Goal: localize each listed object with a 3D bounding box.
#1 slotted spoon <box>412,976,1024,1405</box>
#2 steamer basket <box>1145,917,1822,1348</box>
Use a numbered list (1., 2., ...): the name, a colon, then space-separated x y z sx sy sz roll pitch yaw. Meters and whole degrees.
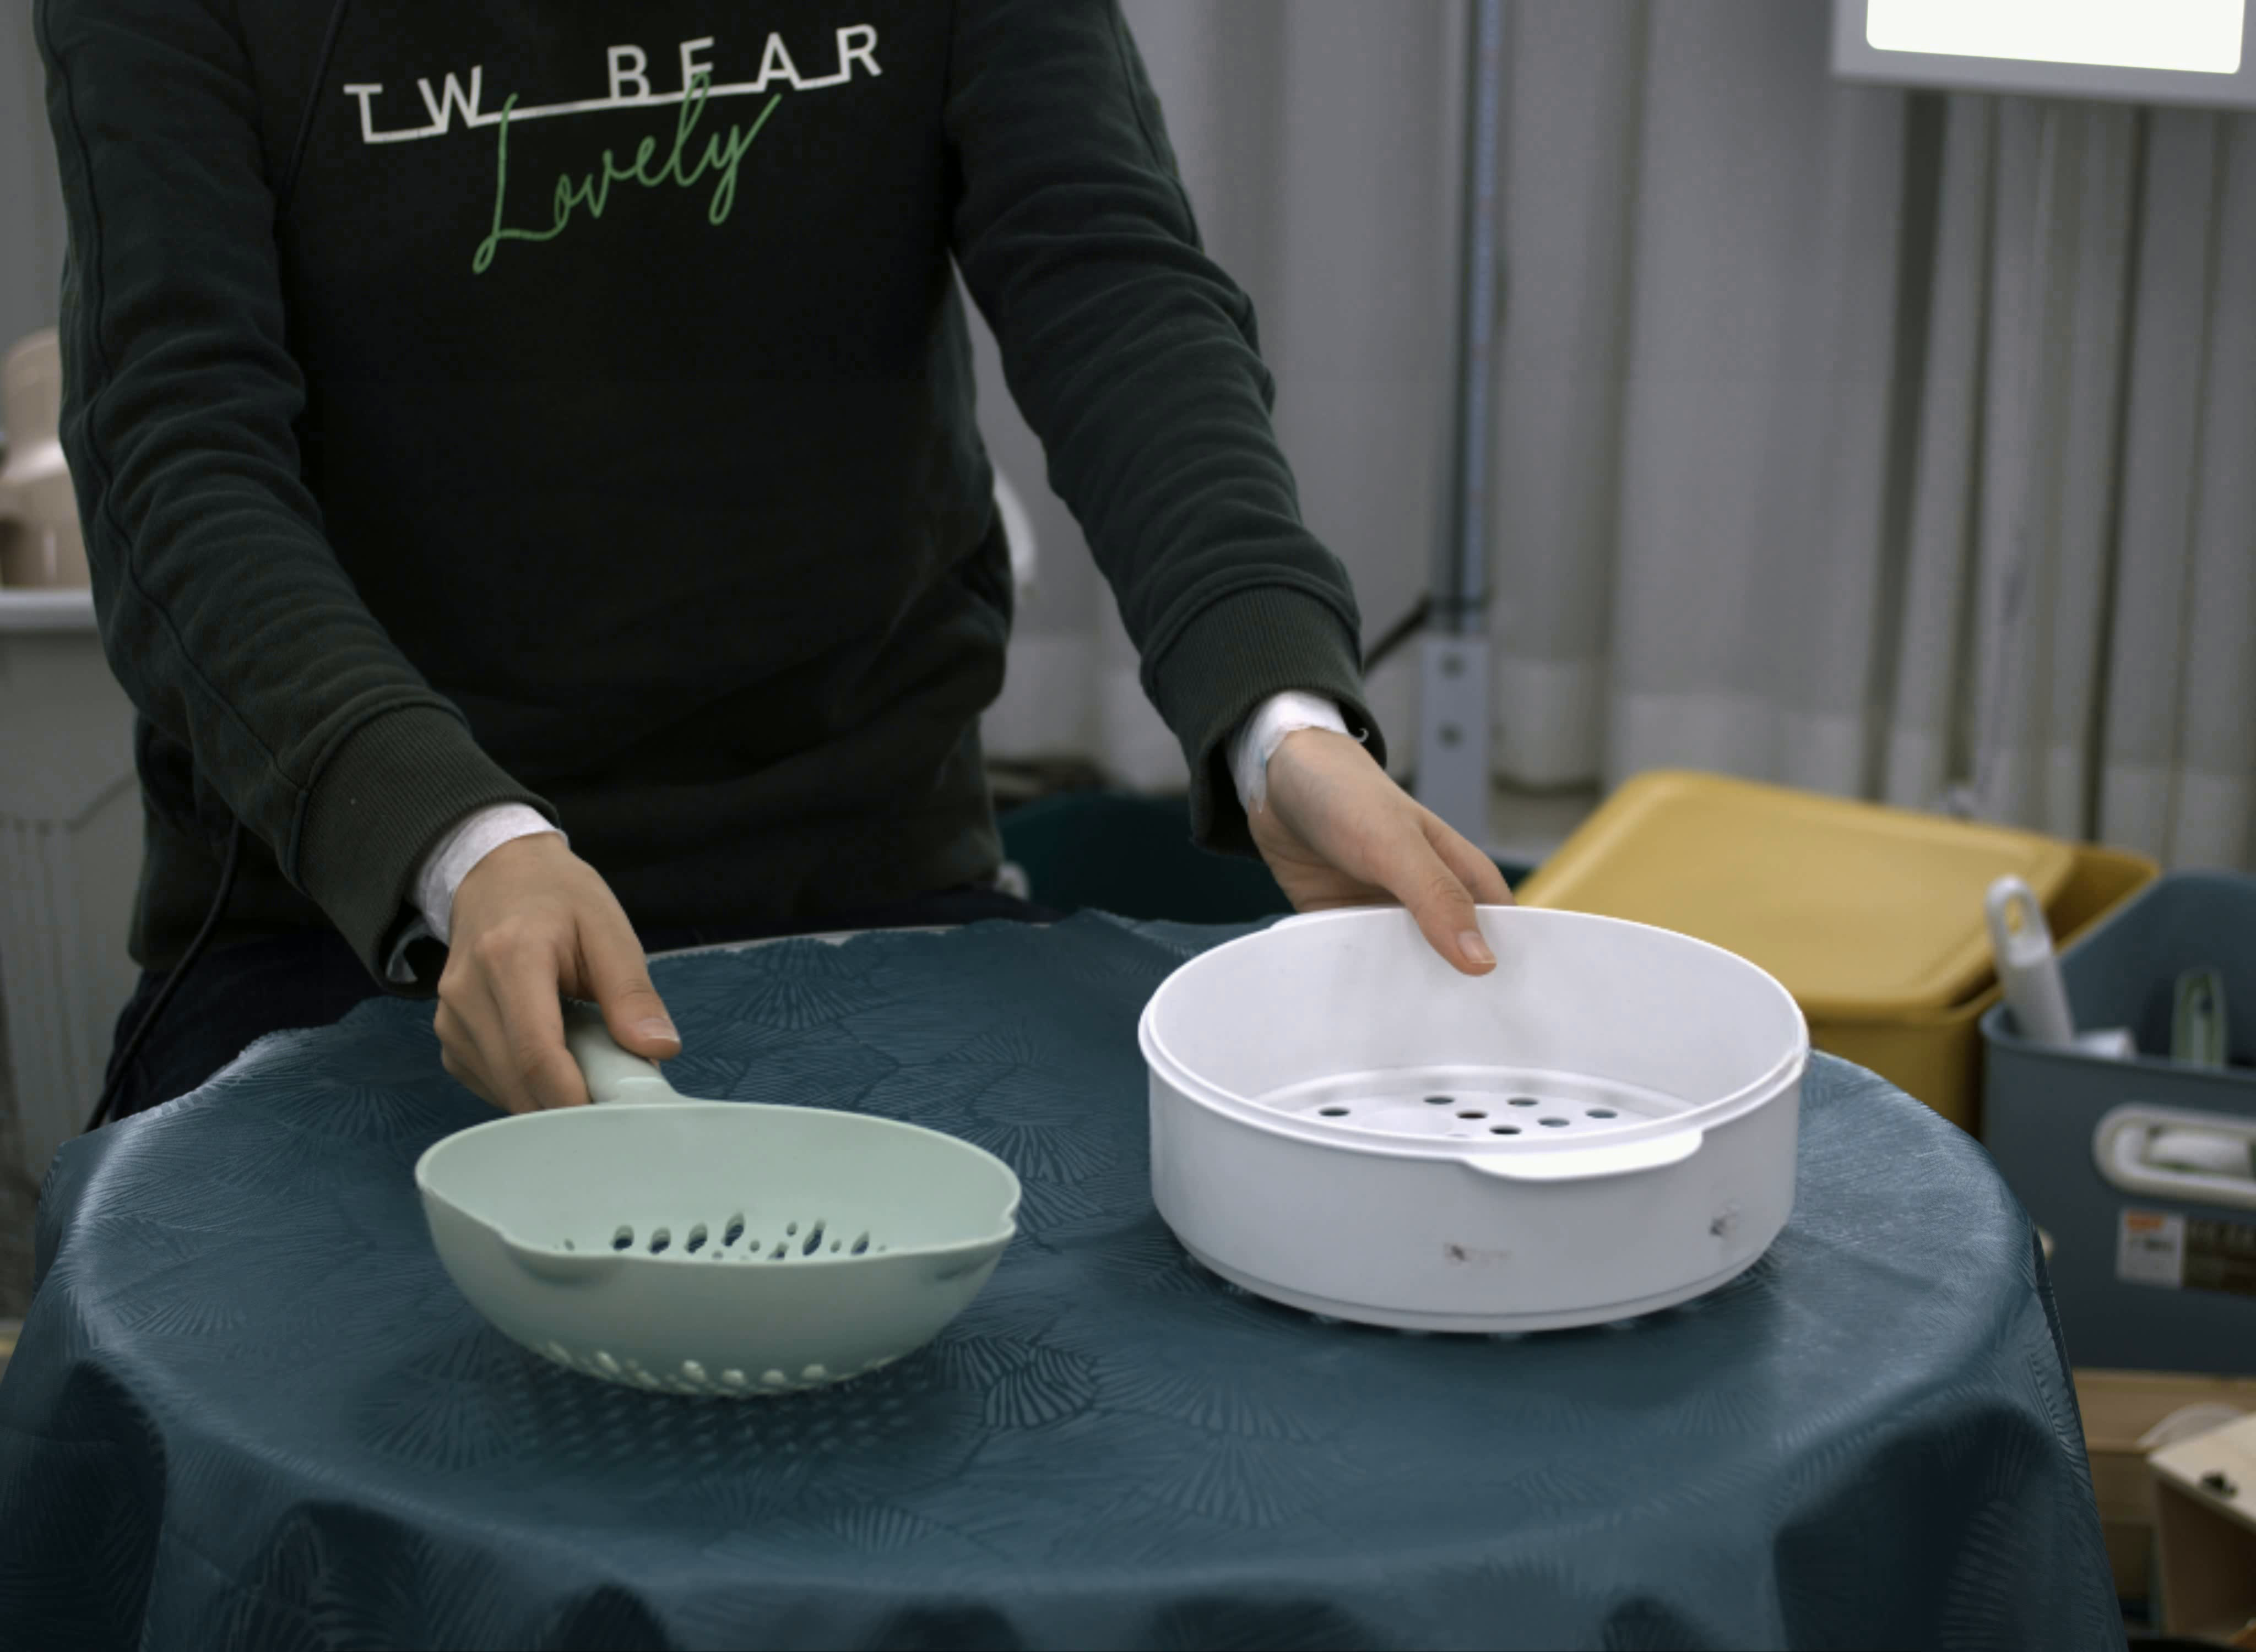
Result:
1. slotted spoon: -0.141 0.091 1.555 0.170 0.076 0.355 0 20 -17
2. steamer basket: 0.105 0.091 1.577 0.202 0.070 0.228 -5 20 -17
